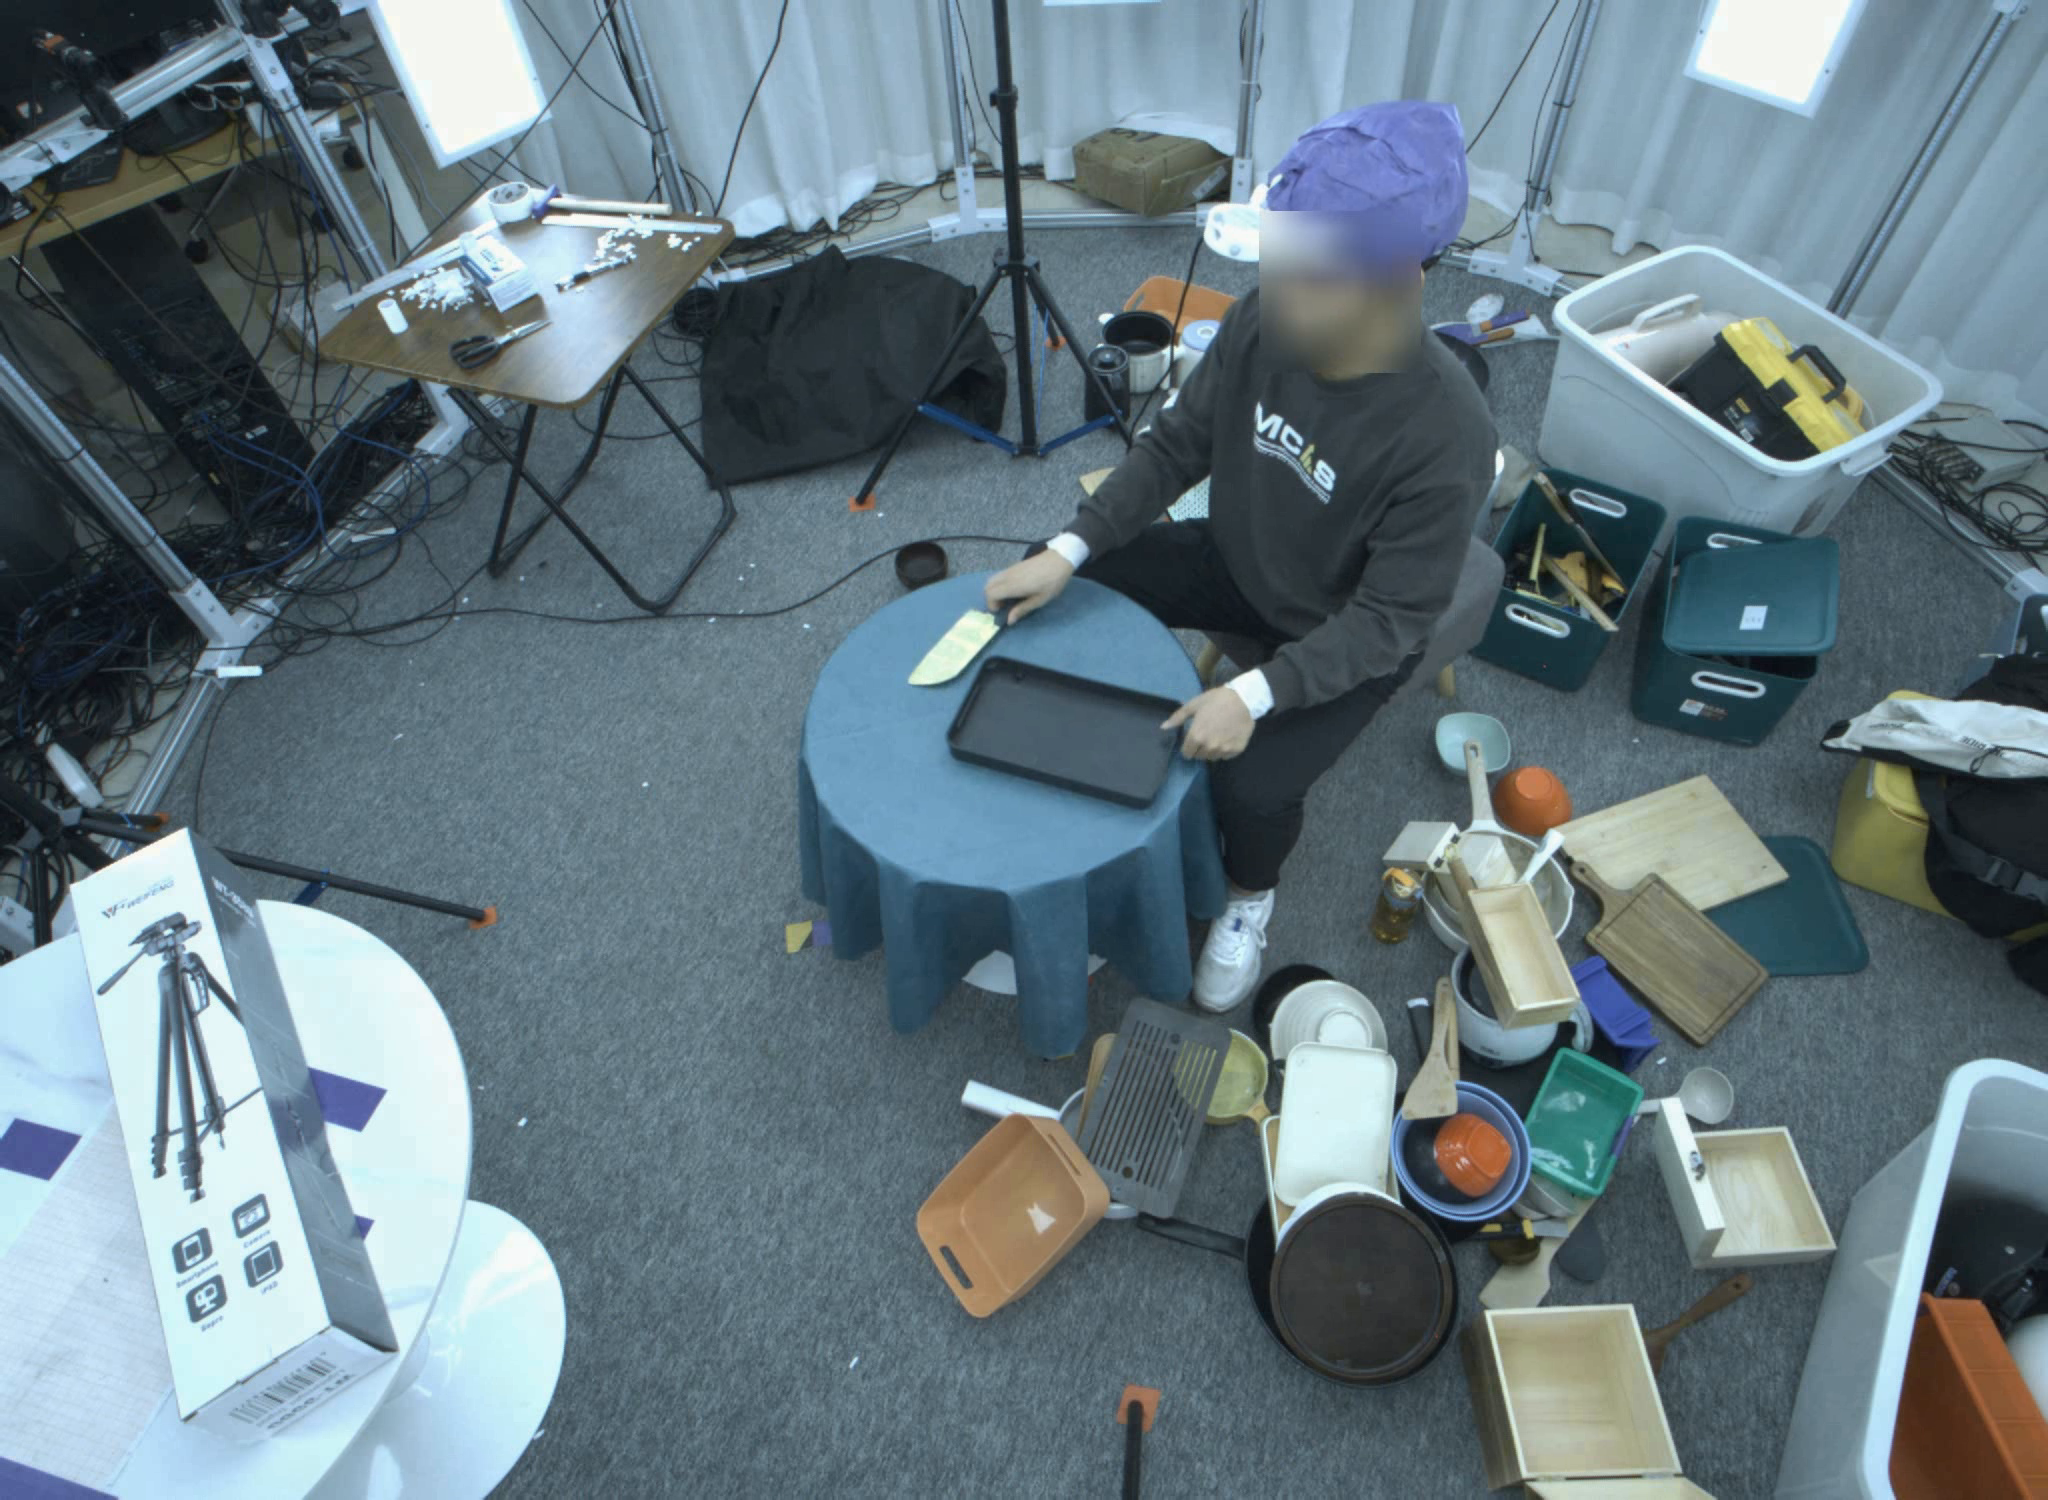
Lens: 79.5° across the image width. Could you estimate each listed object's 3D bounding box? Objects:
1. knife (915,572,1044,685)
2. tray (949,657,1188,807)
[{"bbox_3d":[-0.071,-0.194,1.927,0.079,0.027,0.291,29,59,27],"label":"knife"},{"bbox_3d":[0.066,-0.029,1.792,0.315,0.037,0.184,14,55,11],"label":"tray"}]
